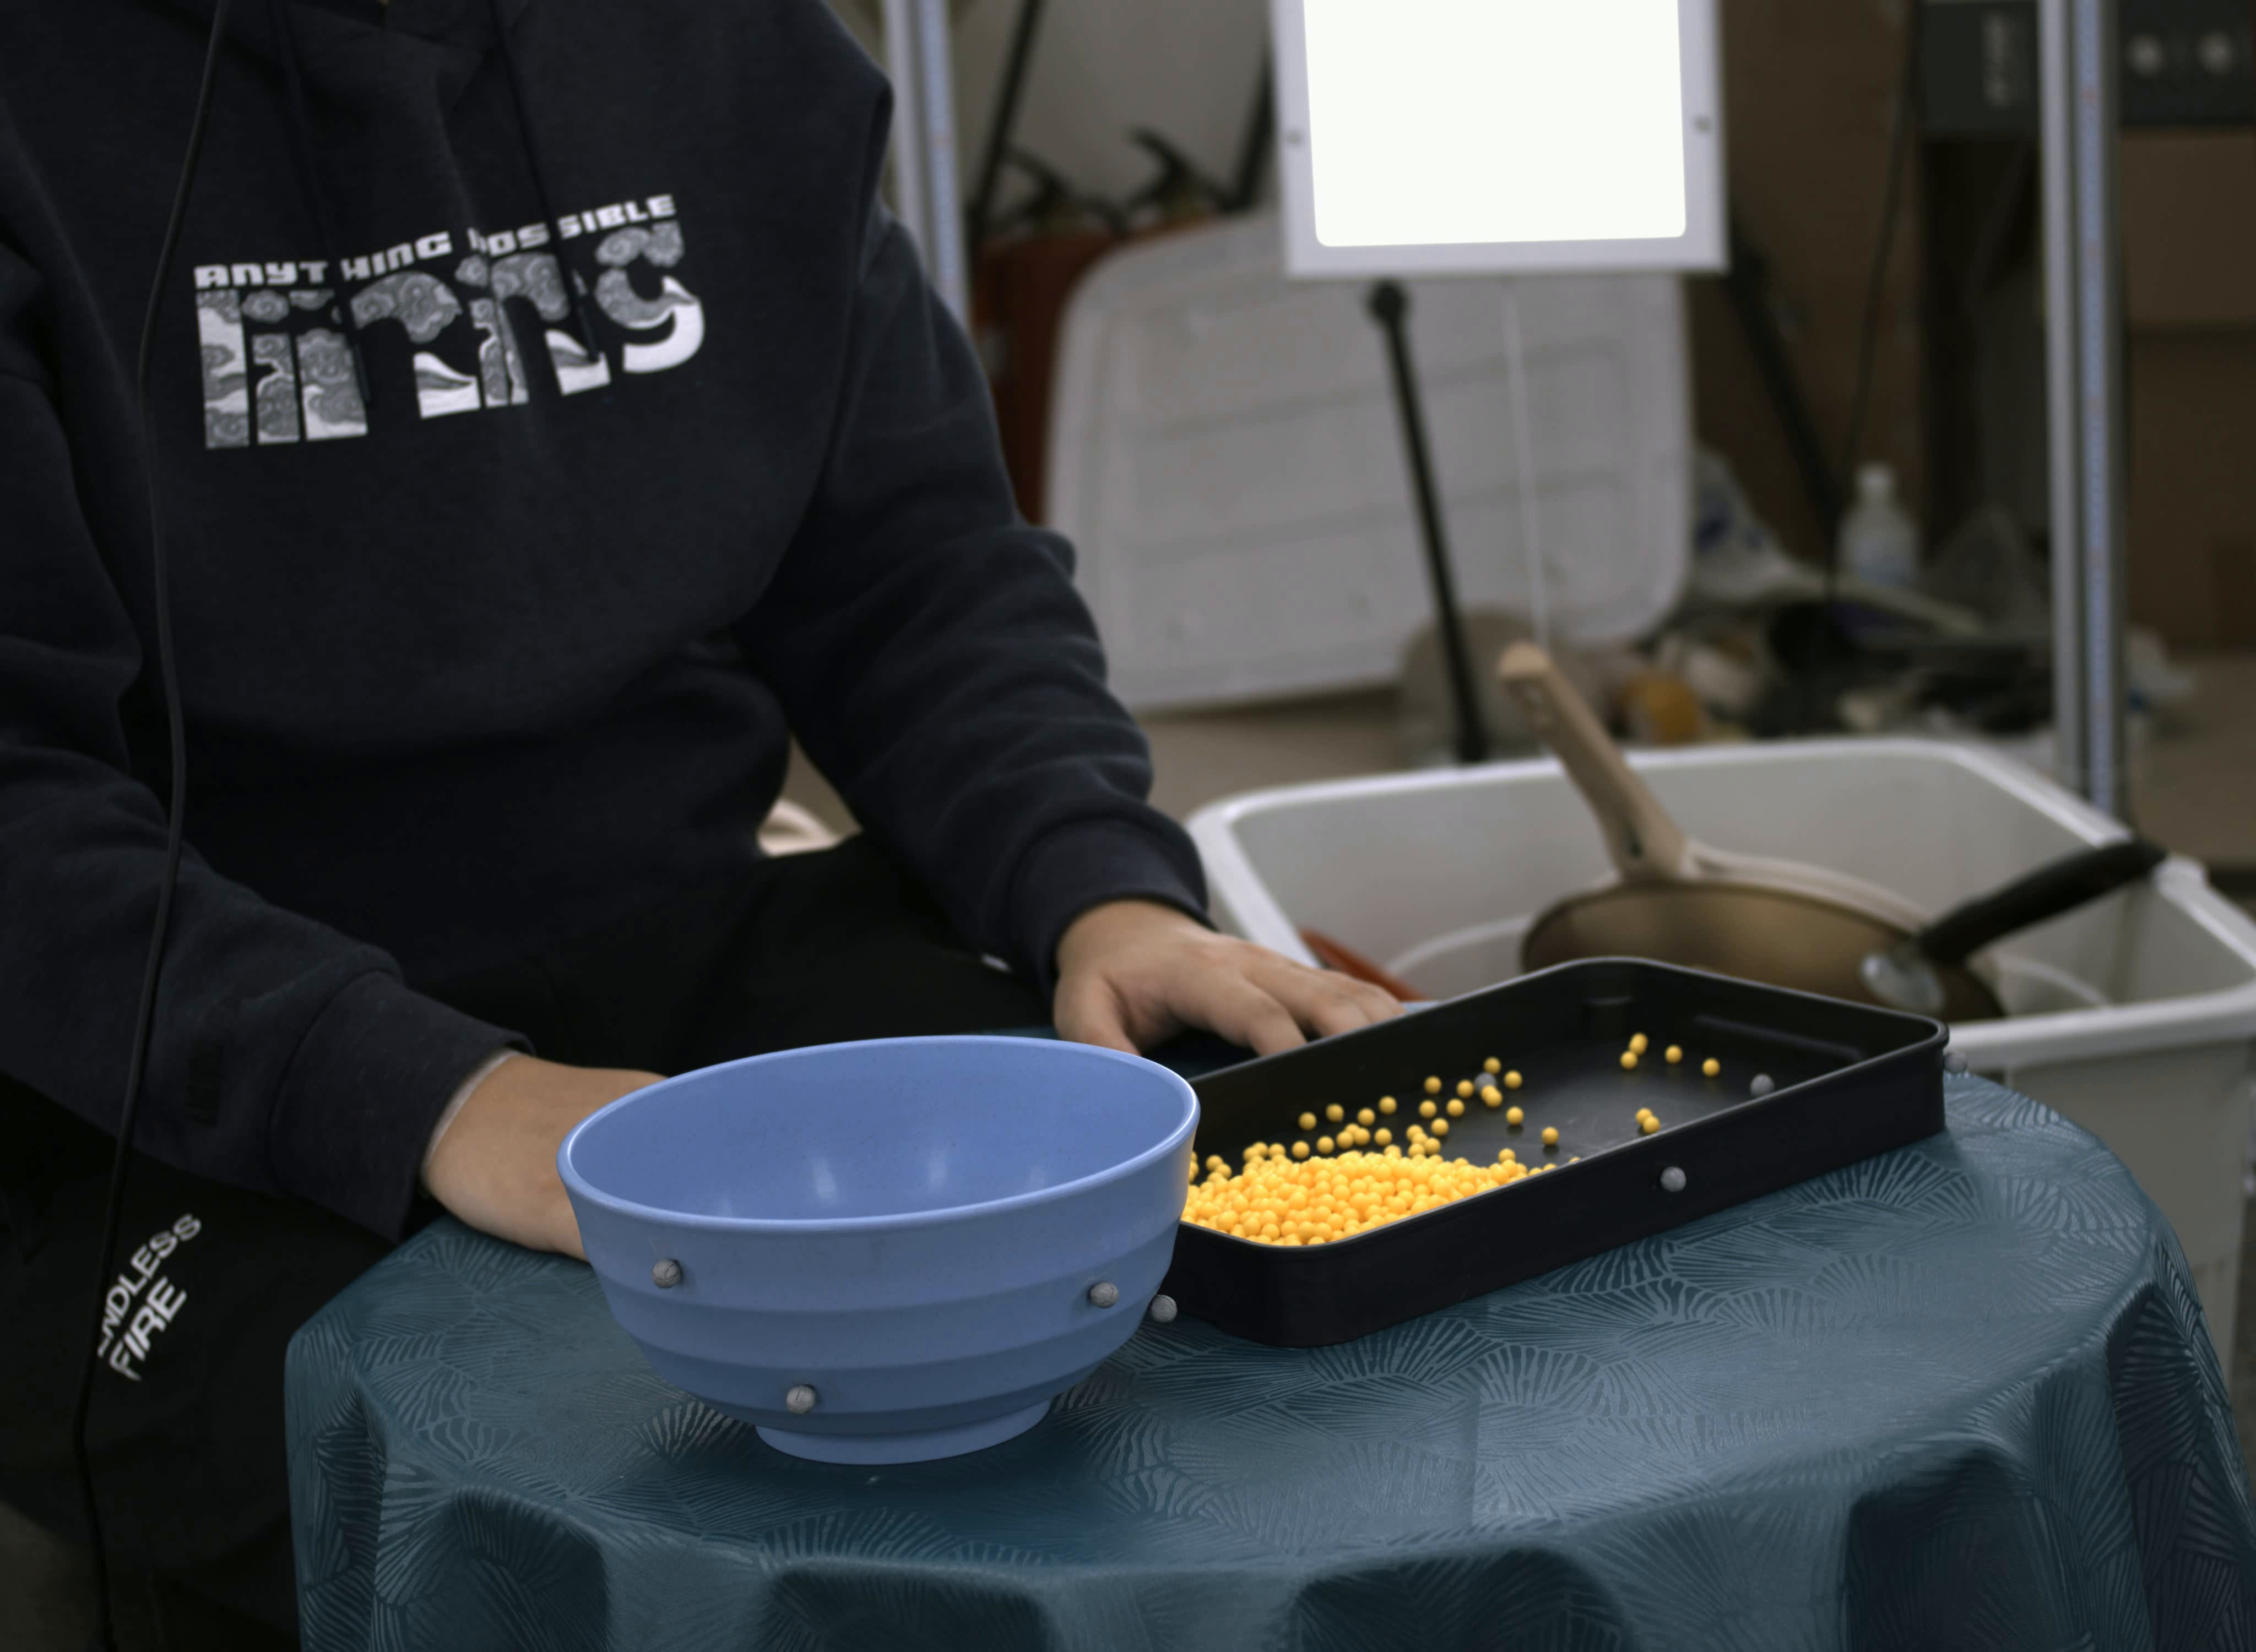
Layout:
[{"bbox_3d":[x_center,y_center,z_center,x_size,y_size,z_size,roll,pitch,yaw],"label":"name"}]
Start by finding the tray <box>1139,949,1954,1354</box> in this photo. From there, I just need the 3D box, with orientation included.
[{"bbox_3d":[0.120,0.105,1.873,0.310,0.037,0.188,-17,17,-37],"label":"tray"}]

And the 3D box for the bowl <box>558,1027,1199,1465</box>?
[{"bbox_3d":[-0.072,0.134,1.685,0.196,0.096,0.196,-6,15,0],"label":"bowl"}]
